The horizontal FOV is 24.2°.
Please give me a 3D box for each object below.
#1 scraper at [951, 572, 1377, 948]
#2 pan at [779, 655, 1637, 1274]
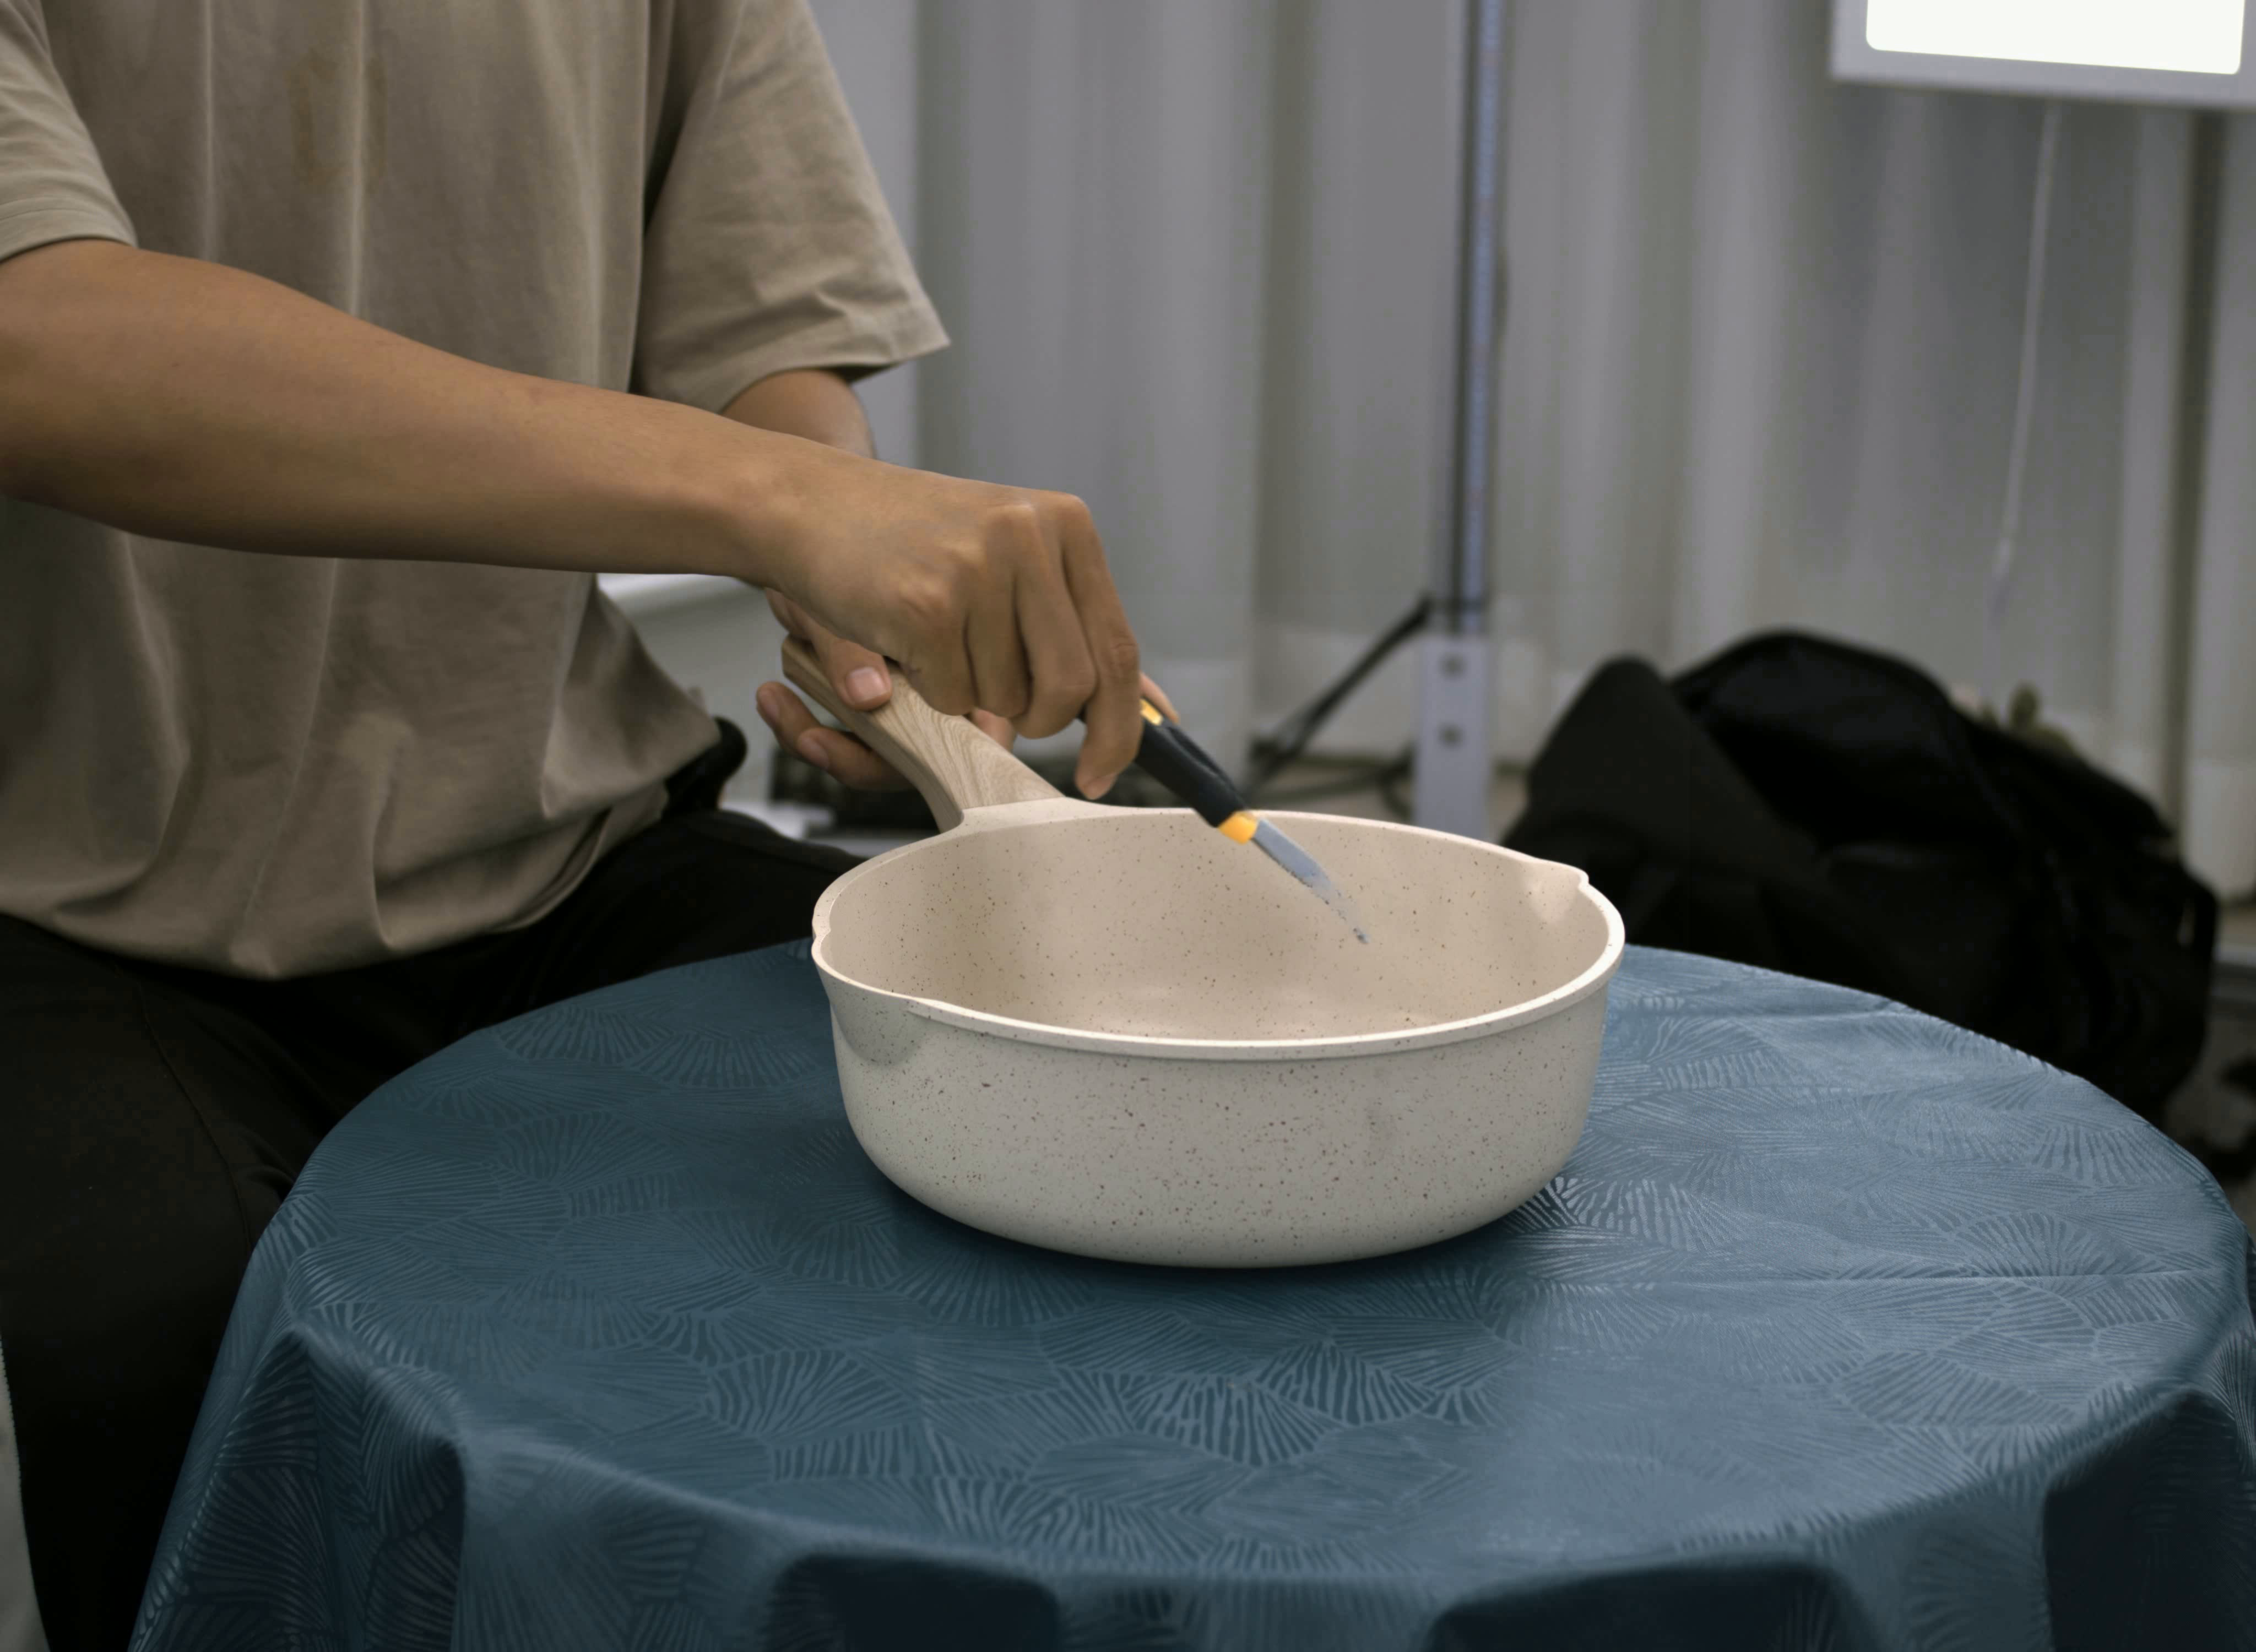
[{"bbox_3d":[0.011,-0.021,1.663,0.172,0.015,0.038,40,27,-11],"label":"scraper"},{"bbox_3d":[-0.010,0.039,1.714,0.264,0.103,0.429,-10,19,-26],"label":"pan"}]
